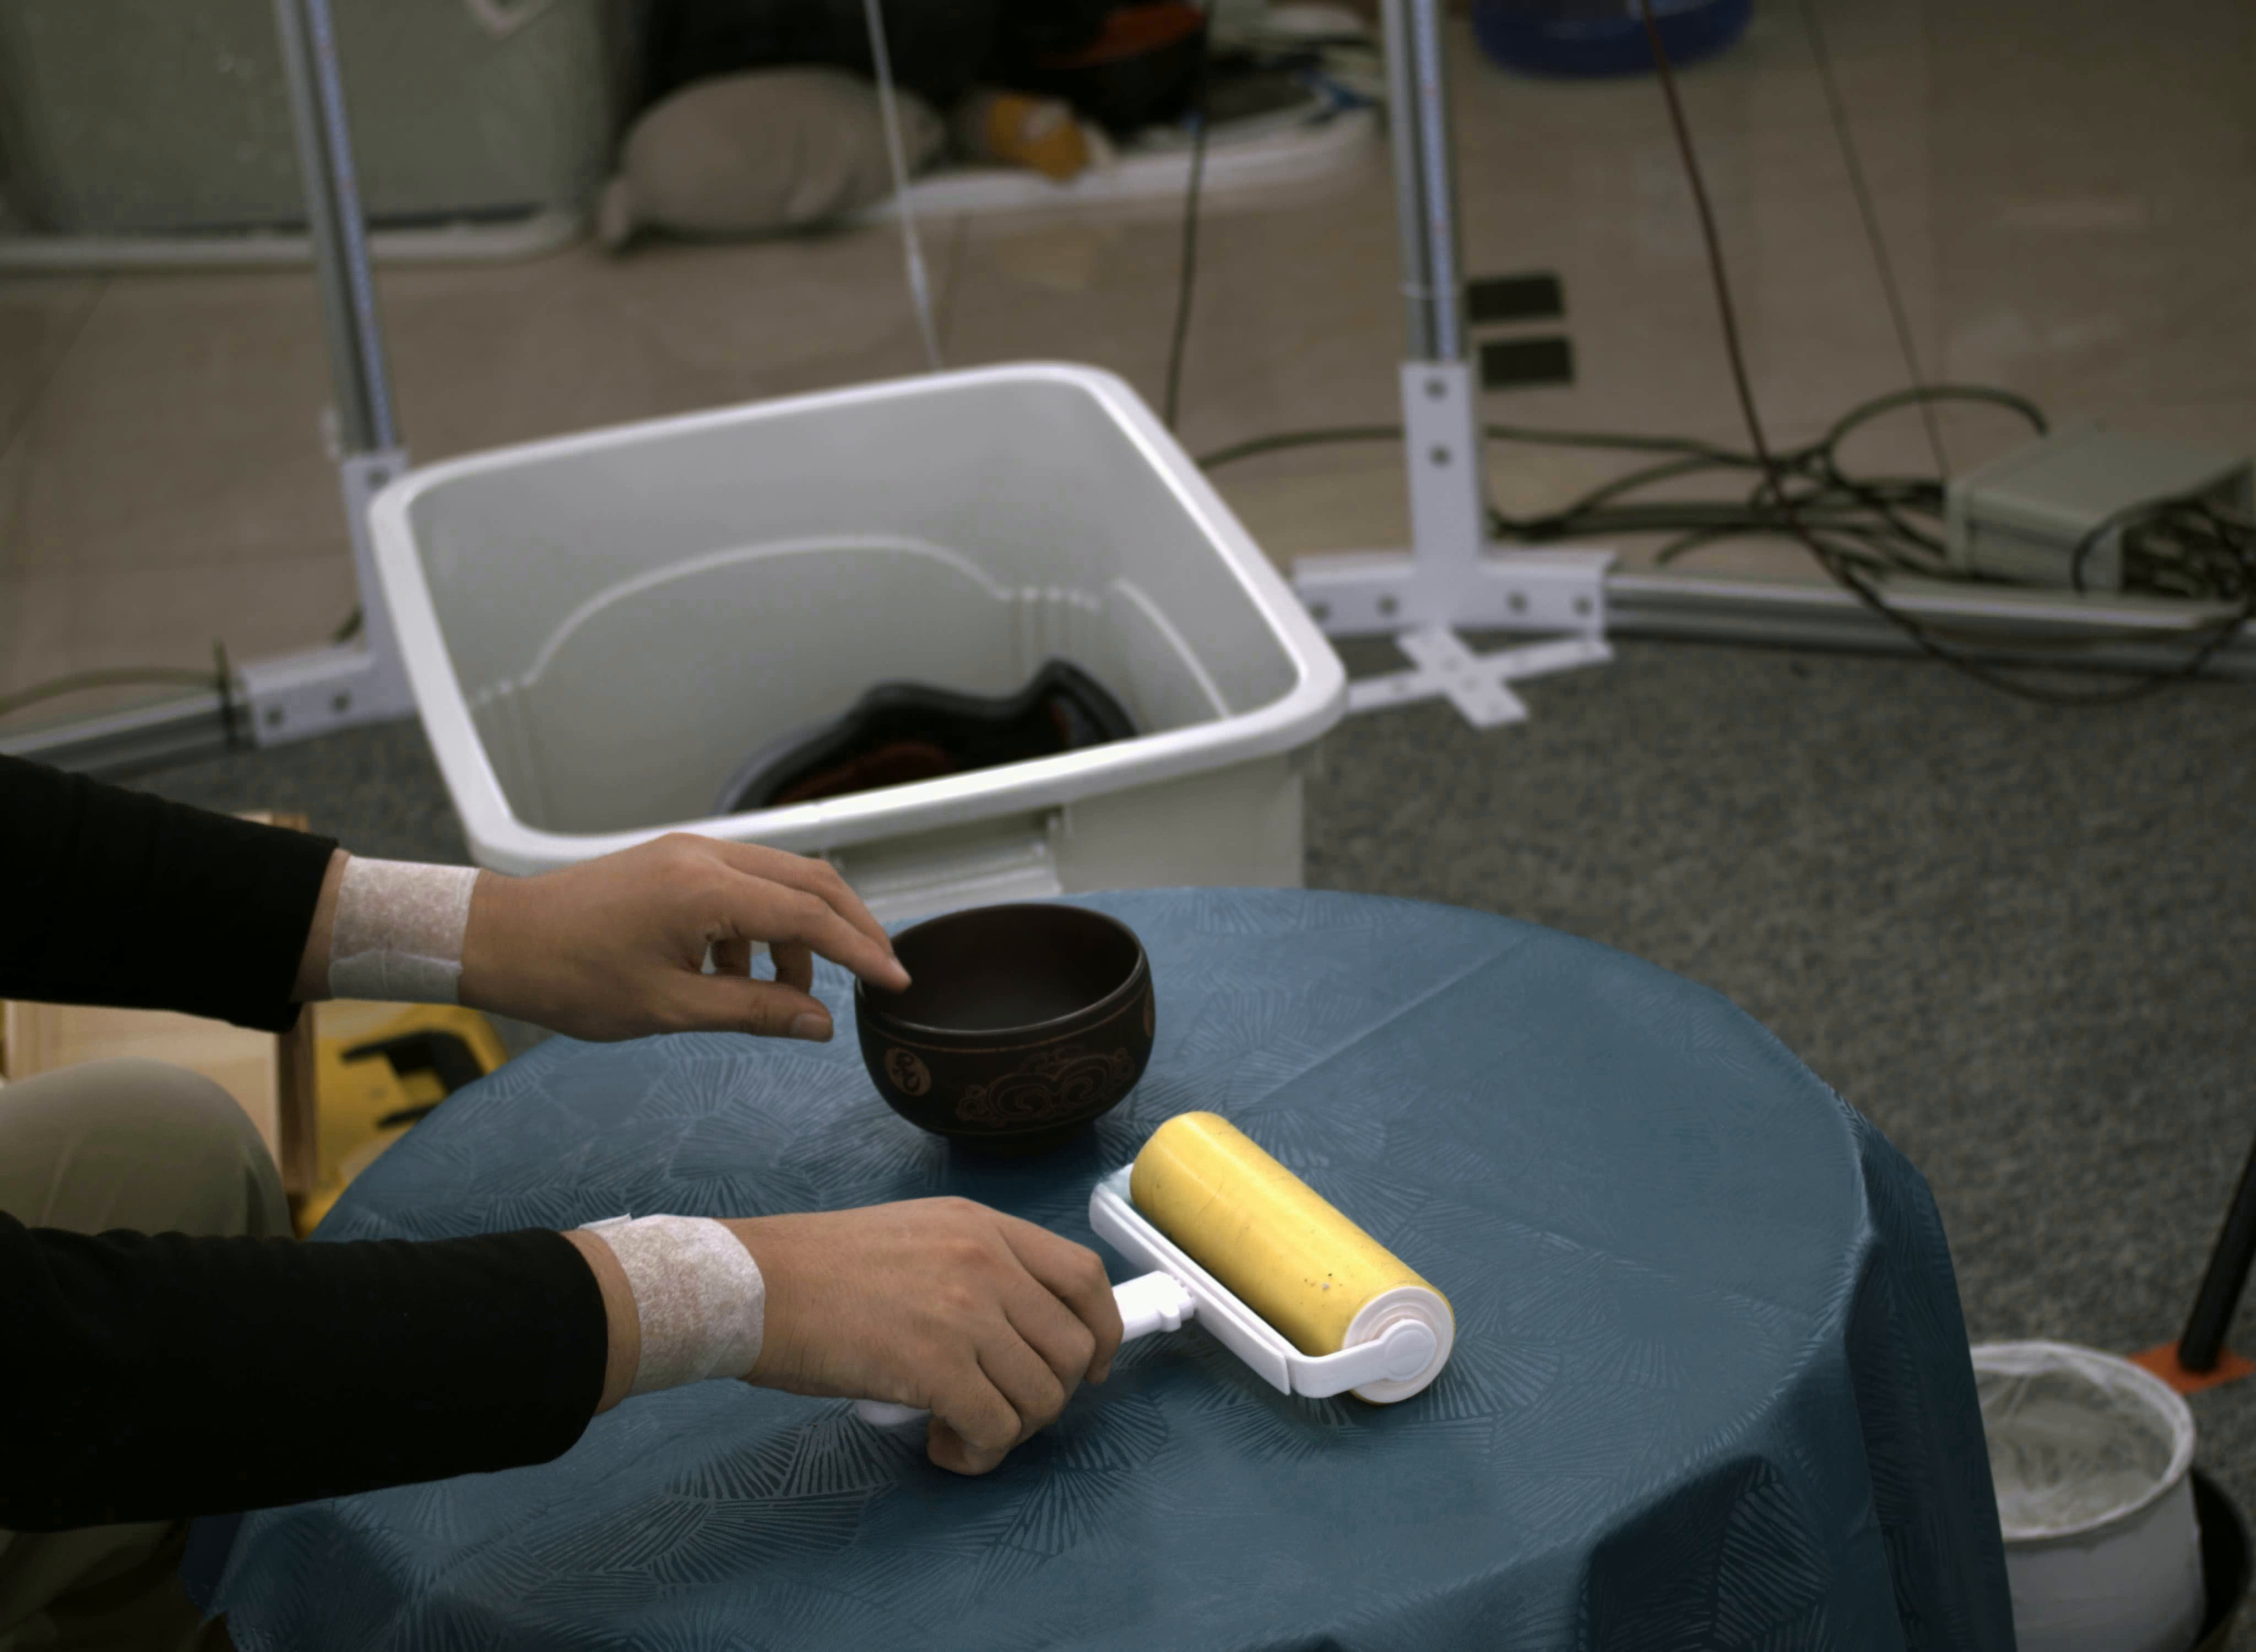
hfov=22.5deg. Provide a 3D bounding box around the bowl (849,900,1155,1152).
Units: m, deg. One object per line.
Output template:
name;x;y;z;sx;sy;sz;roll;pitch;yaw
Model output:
bowl;-0.047;0.083;2.190;0.118;0.071;0.116;-5;24;2

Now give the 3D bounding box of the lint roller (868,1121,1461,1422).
lint roller;-0.005;0.169;2.013;0.191;0.052;0.172;-9;23;-27
